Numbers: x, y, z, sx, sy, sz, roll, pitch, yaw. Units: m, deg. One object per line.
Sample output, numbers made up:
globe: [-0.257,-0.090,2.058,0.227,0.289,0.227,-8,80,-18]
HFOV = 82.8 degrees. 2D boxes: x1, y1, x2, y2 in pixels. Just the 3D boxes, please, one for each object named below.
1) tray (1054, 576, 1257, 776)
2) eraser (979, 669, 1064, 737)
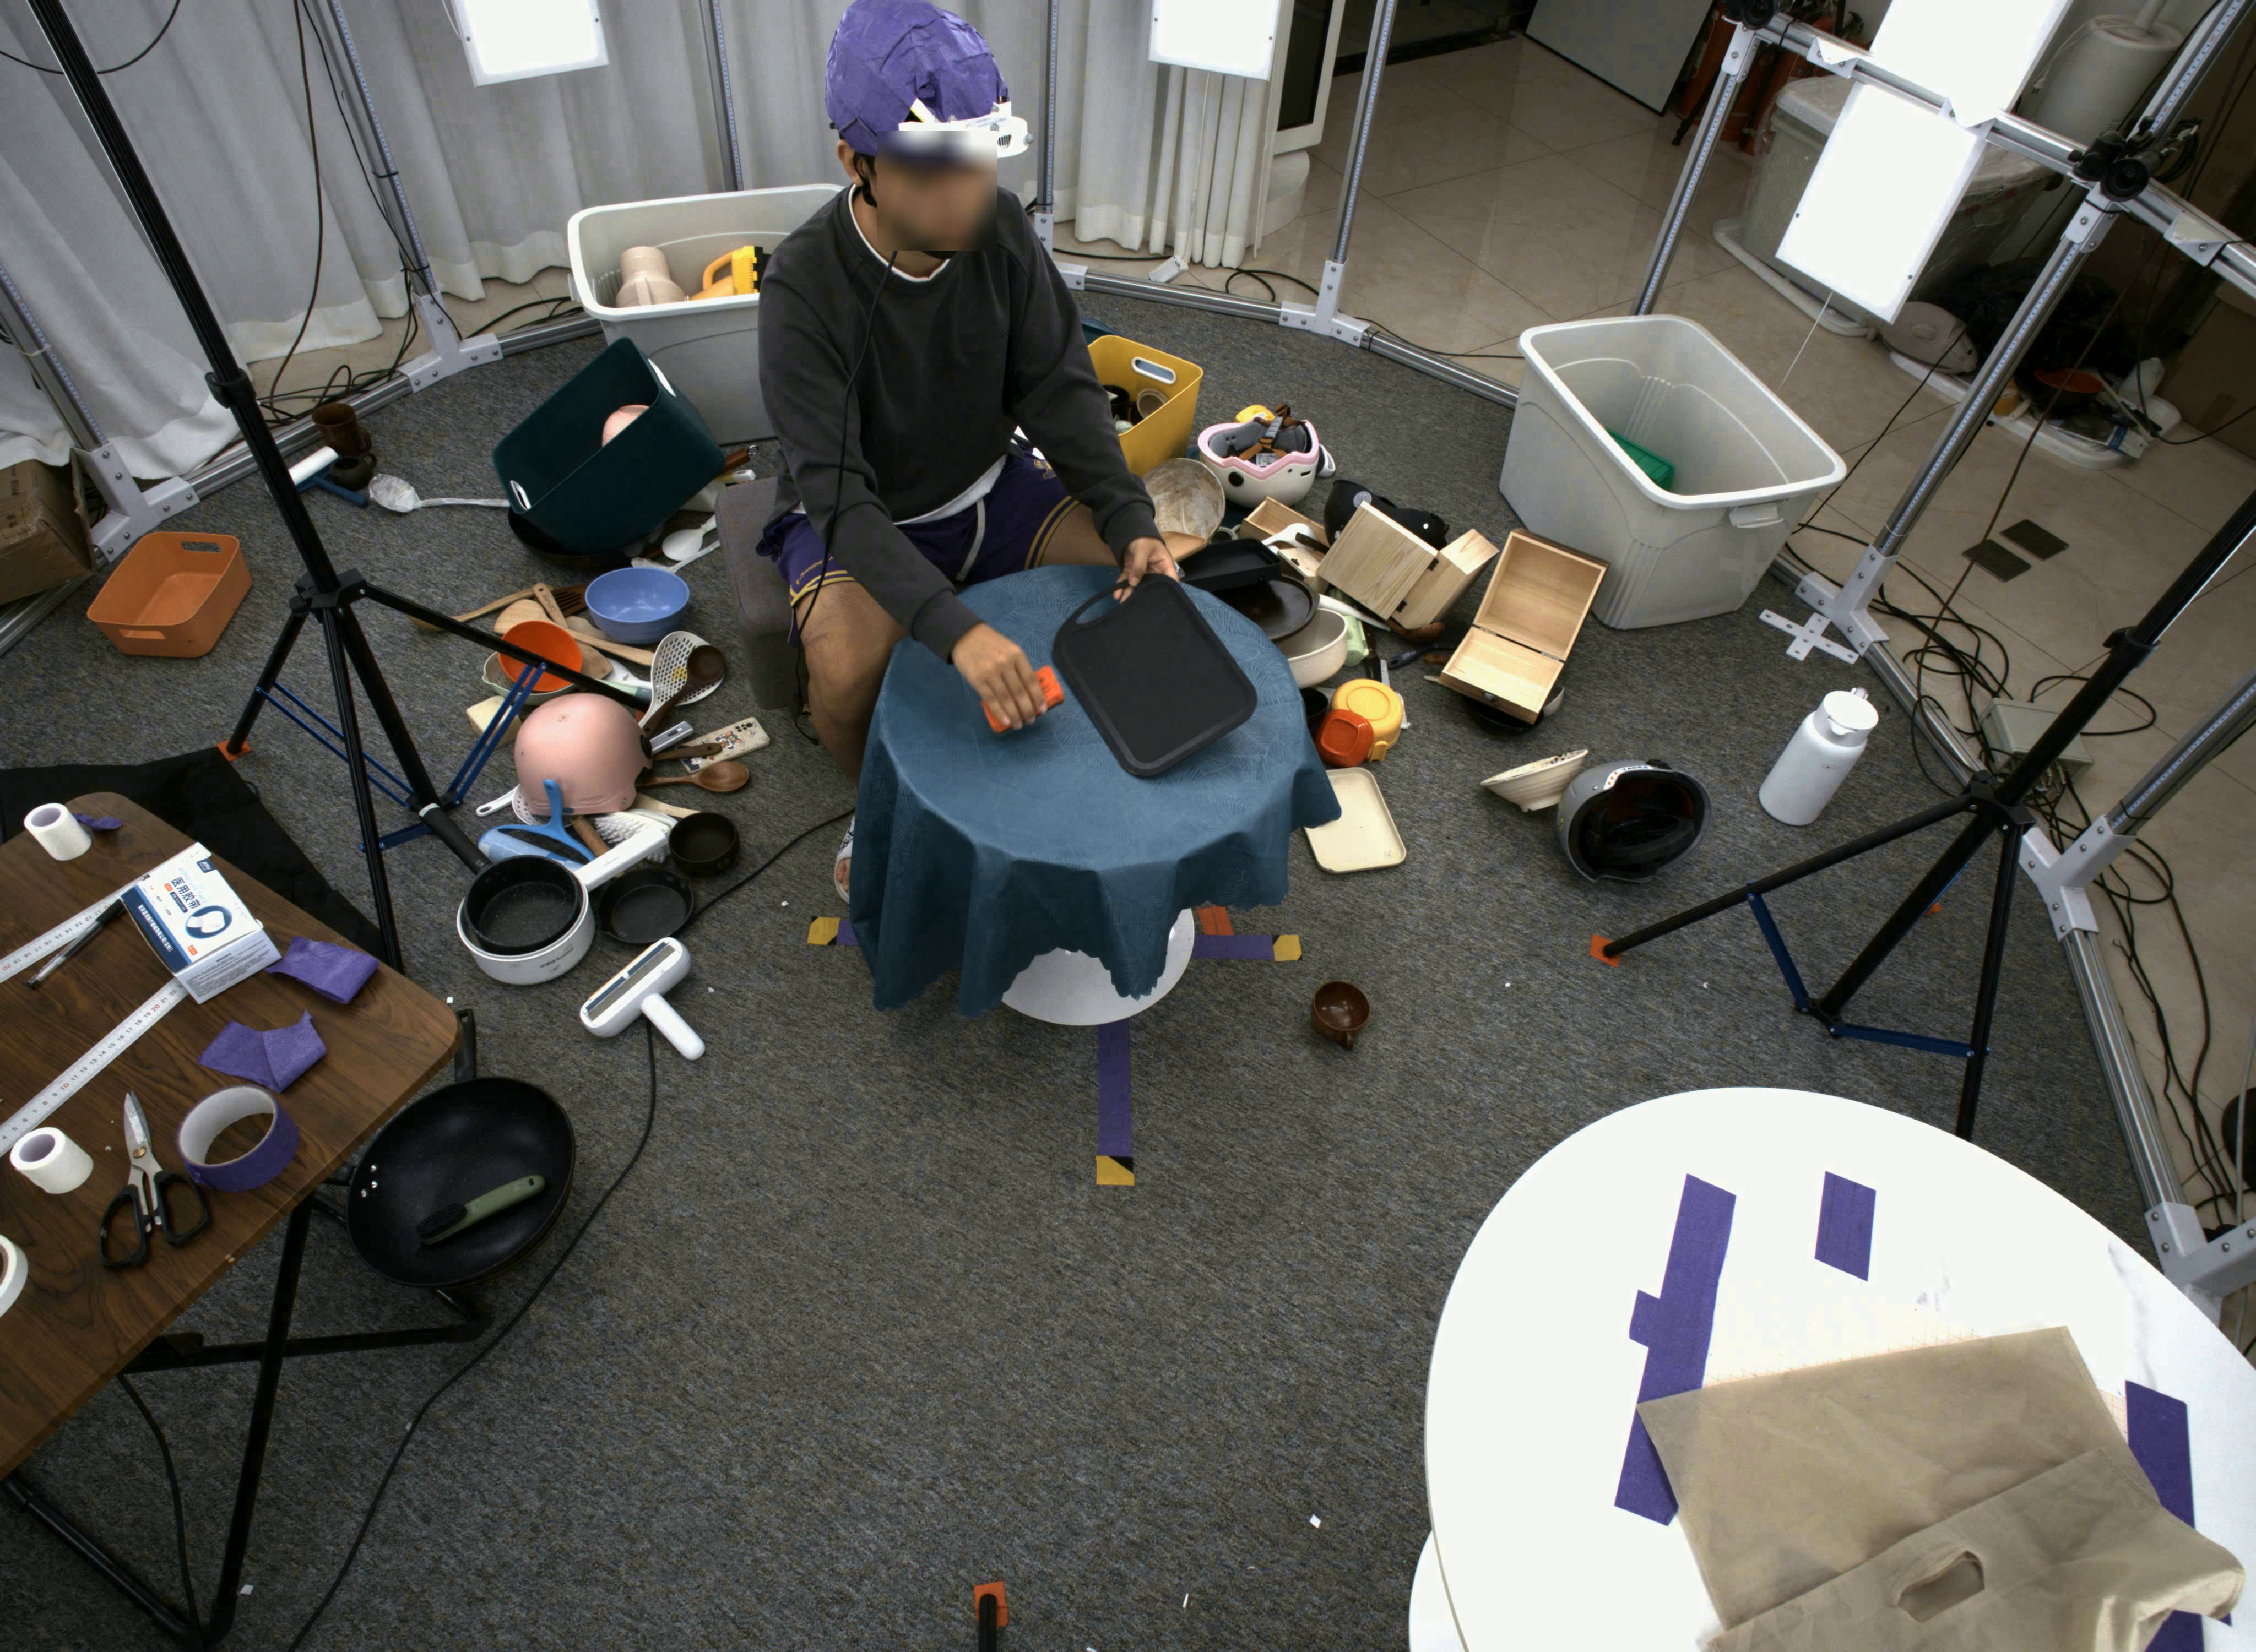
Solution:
tray: [0.028,-0.223,1.804,0.211,0.009,0.332,-30,57,-1]
eraser: [-0.145,-0.167,1.744,0.108,0.022,0.060,-27,54,-3]
